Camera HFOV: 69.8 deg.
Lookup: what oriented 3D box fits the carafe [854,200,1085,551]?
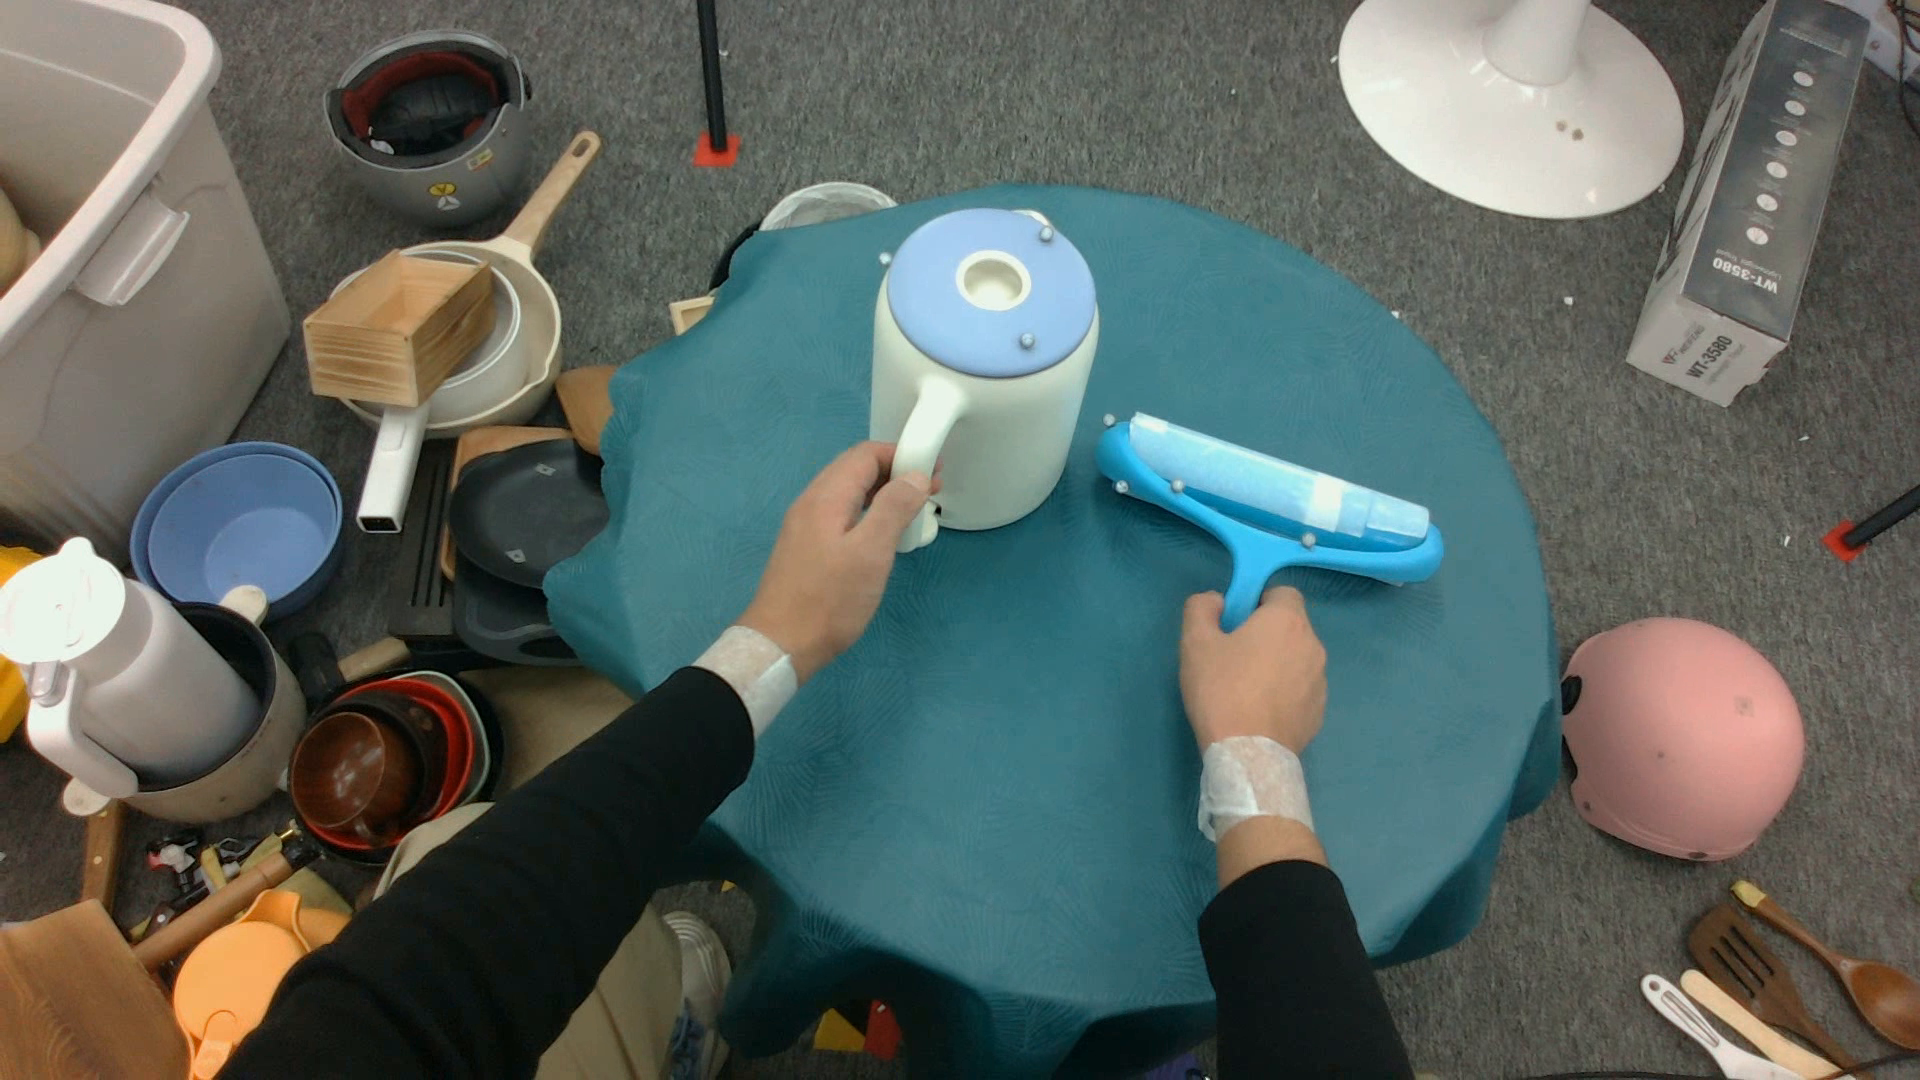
[{"bbox_3d":[-0.006,-0.085,0.828,0.132,0.182,0.192,21,63,6],"label":"carafe"}]

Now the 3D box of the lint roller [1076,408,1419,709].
[{"bbox_3d":[0.168,0.017,0.854,0.229,0.067,0.181,19,54,1],"label":"lint roller"}]
